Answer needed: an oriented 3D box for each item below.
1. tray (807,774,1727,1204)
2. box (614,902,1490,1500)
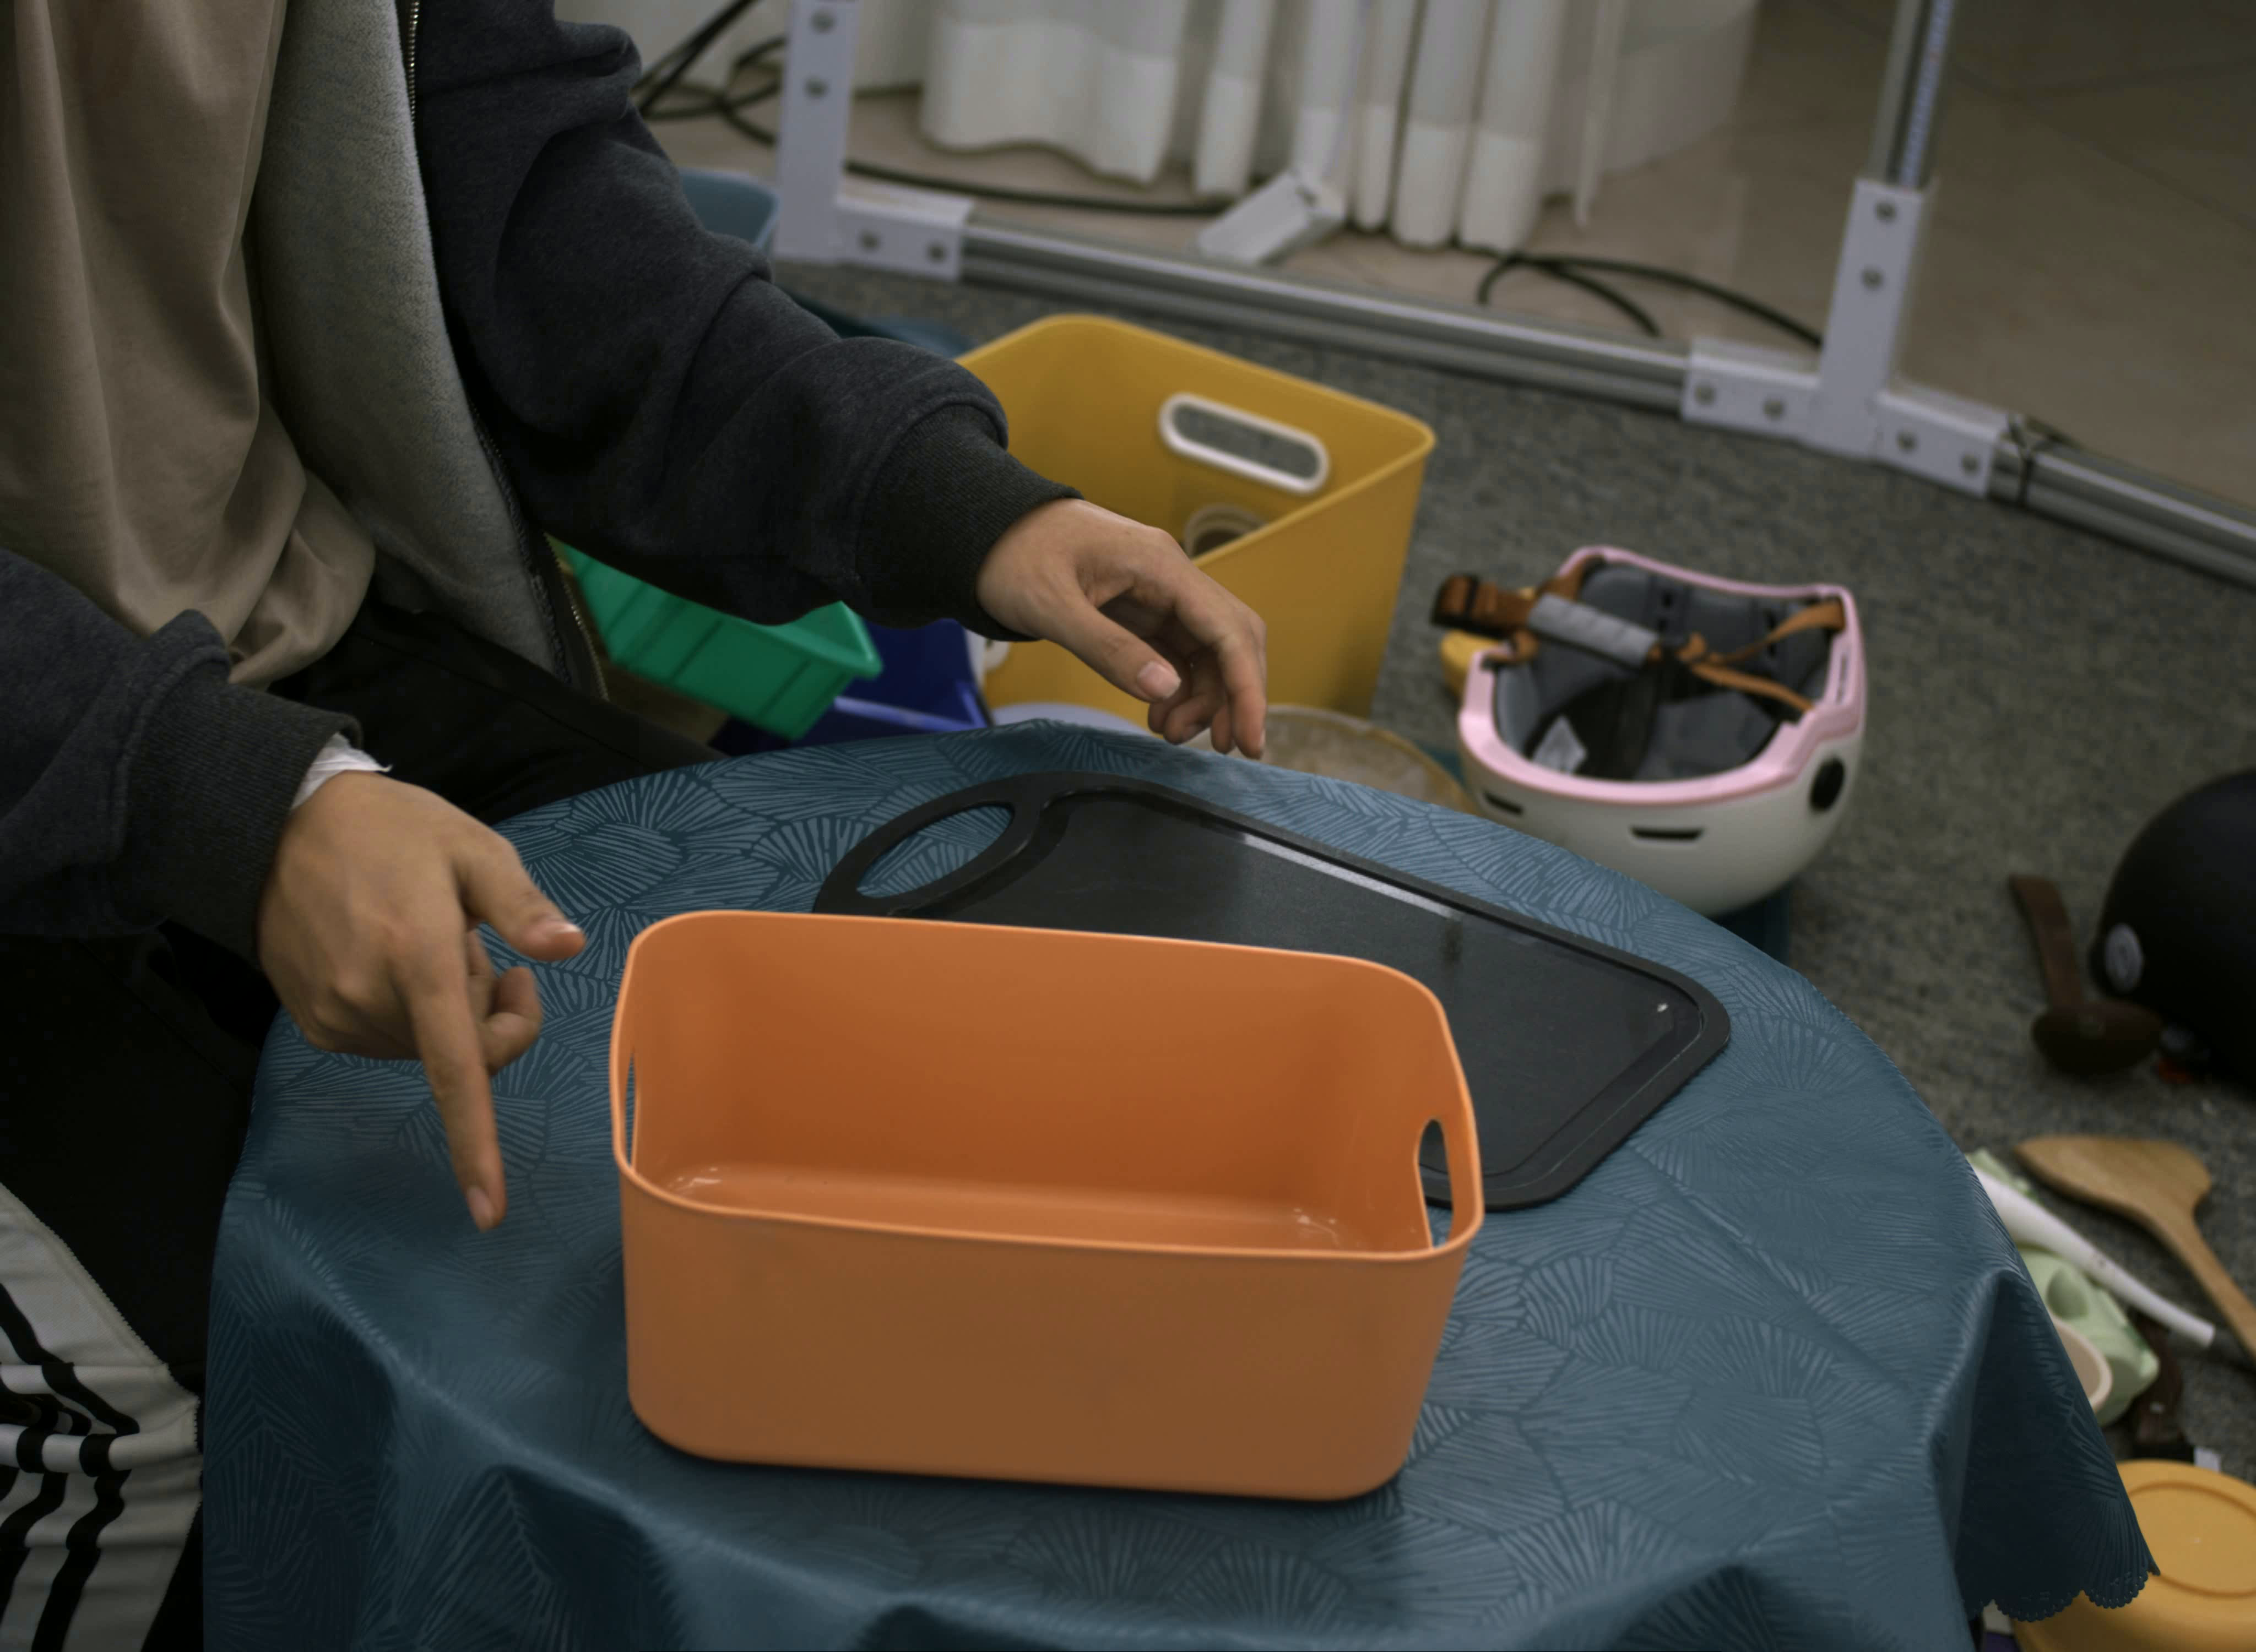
[{"bbox_3d":[0.044,0.052,1.945,0.327,0.010,0.210,20,30,25],"label":"tray"},{"bbox_3d":[-0.031,0.120,1.687,0.272,0.102,0.201,5,27,-5],"label":"box"}]
